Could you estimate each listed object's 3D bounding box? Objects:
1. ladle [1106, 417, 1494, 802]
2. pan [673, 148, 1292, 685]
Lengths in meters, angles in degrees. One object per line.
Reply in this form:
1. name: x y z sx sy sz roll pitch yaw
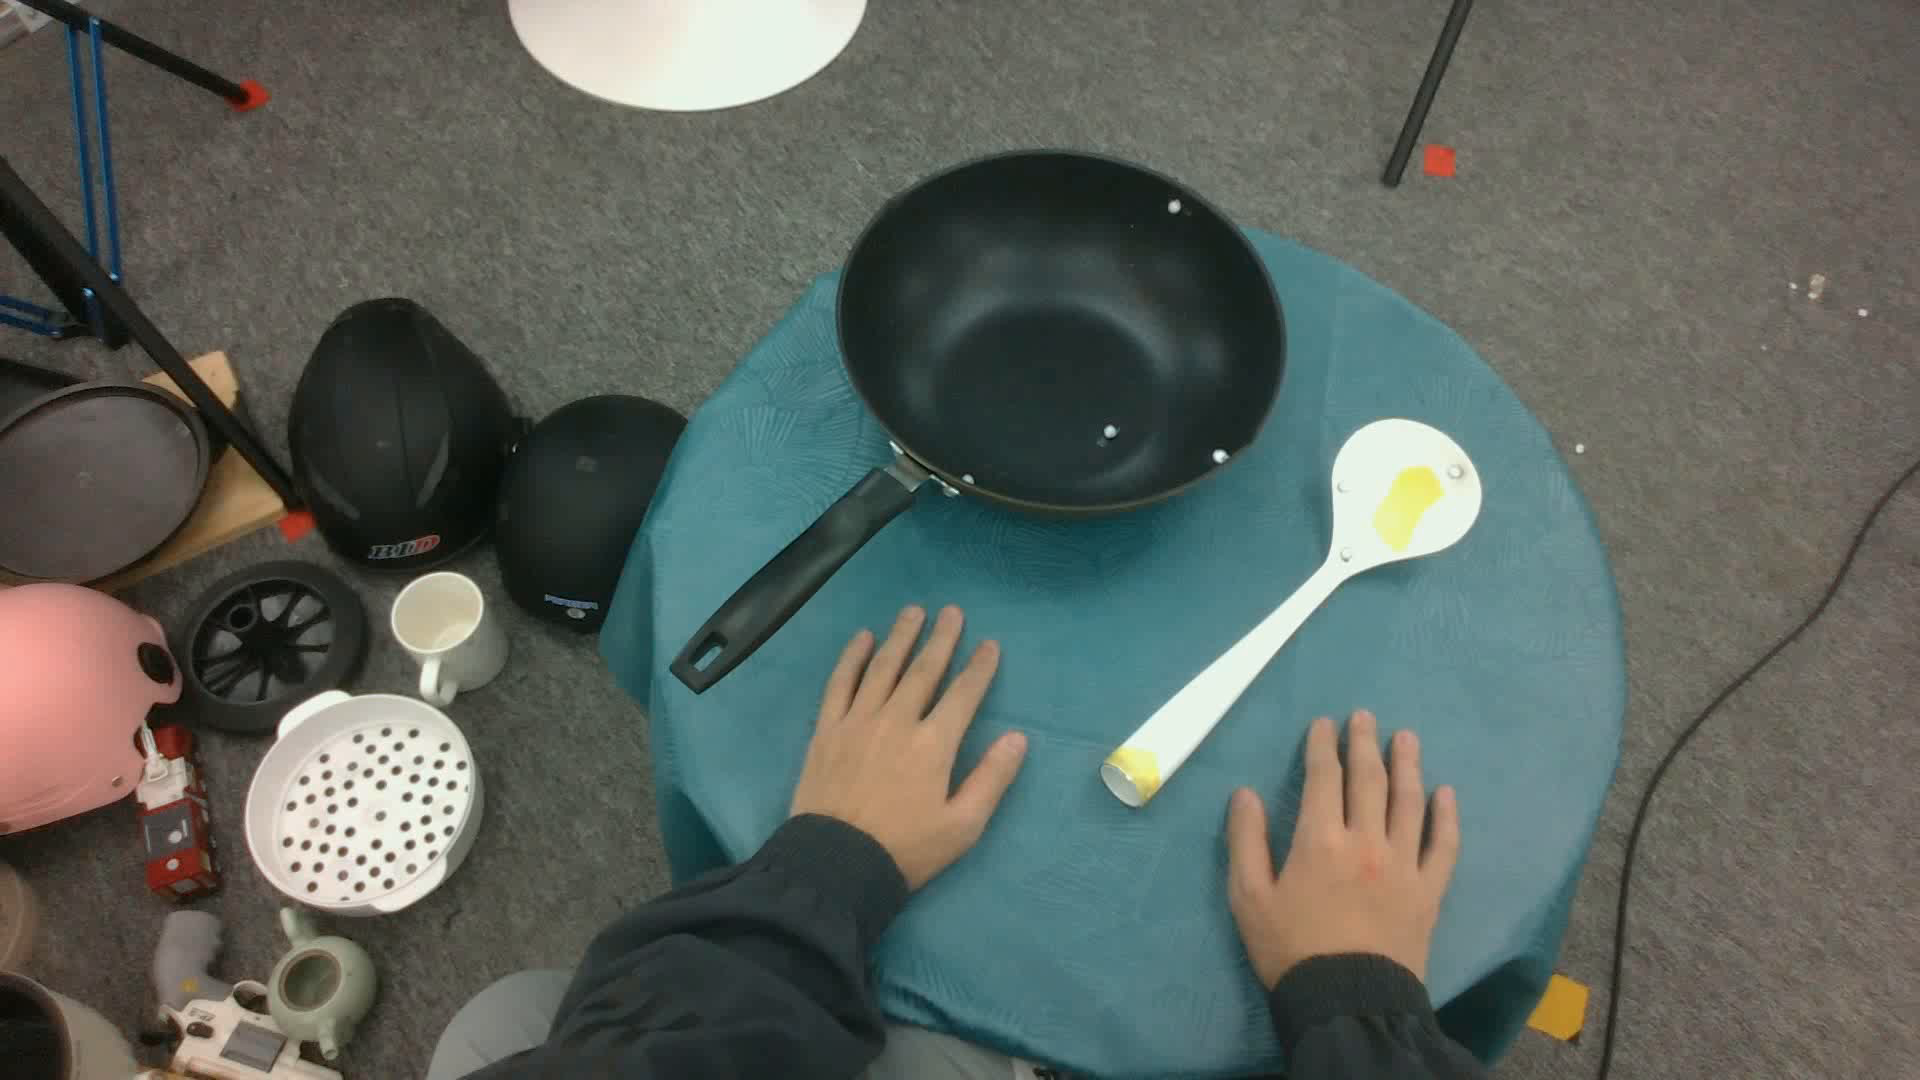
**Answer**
1. ladle: 0.199 0.041 0.817 0.294 0.069 0.090 -40 71 -19
2. pan: 0.007 -0.062 0.860 0.288 0.086 0.465 36 67 18
